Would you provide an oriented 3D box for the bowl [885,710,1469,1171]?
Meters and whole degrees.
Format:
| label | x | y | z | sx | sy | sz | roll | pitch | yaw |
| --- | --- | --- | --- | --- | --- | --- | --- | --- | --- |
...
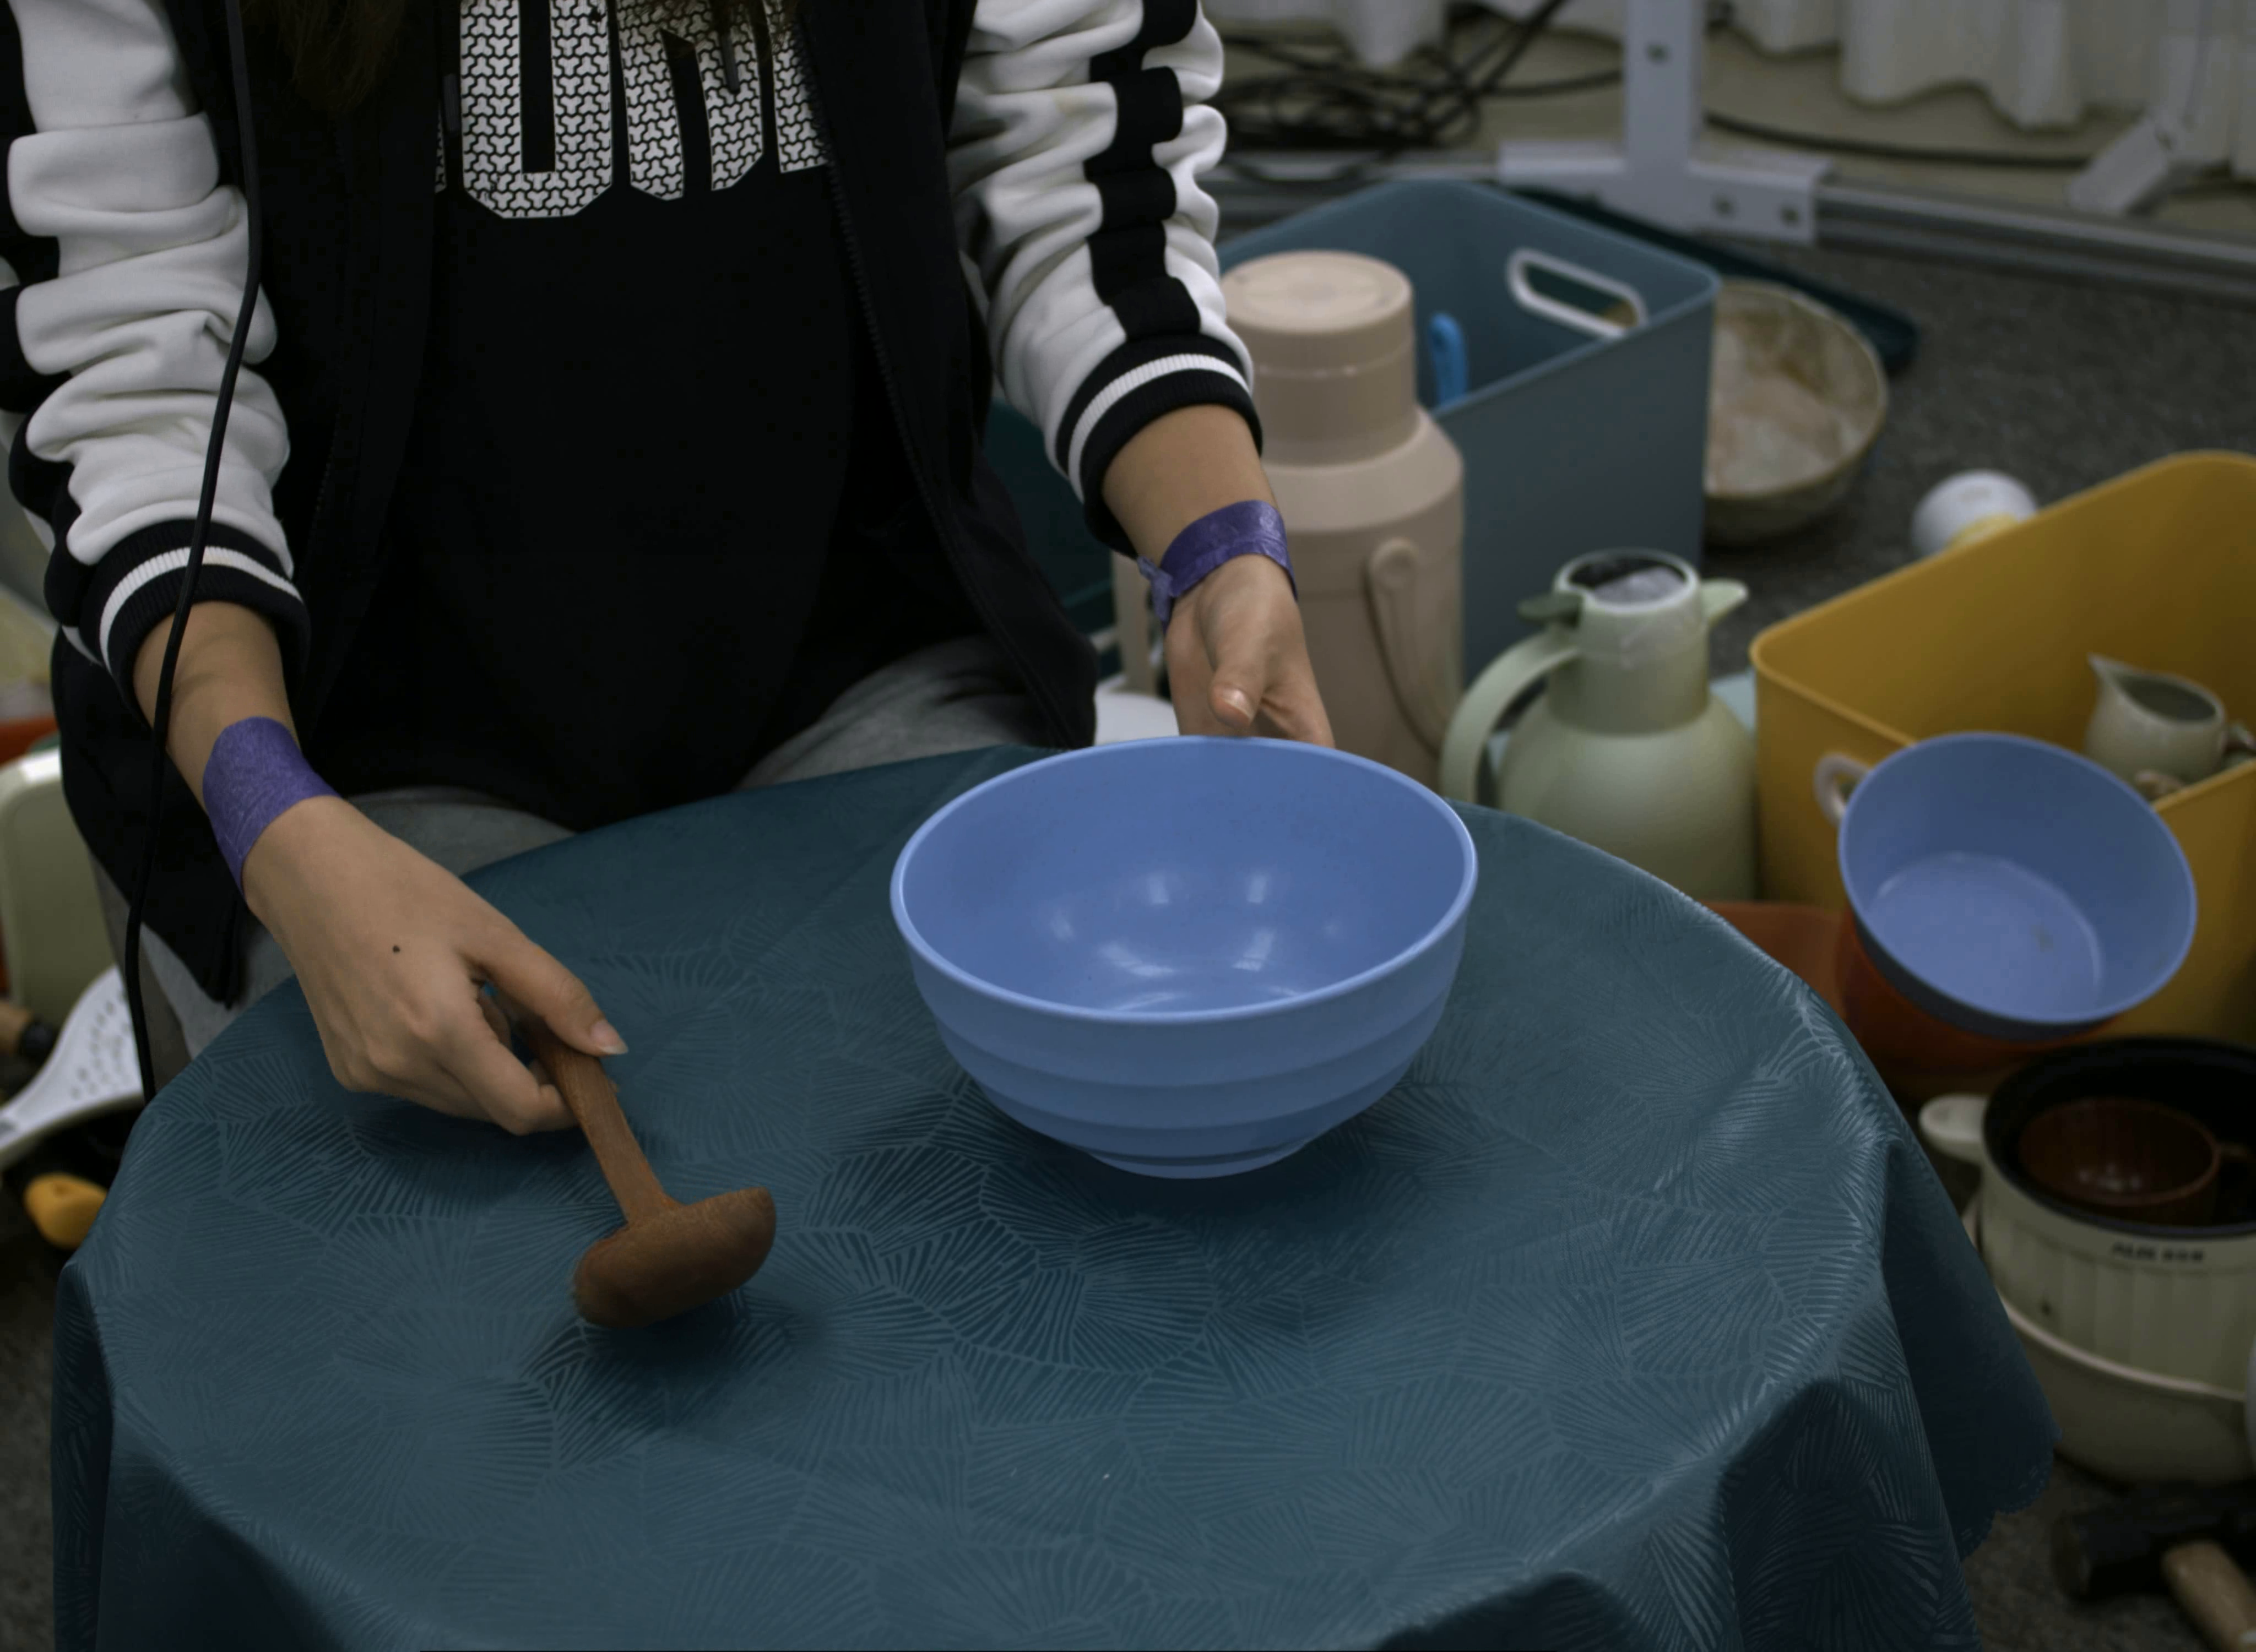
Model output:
| label | x | y | z | sx | sy | sz | roll | pitch | yaw |
| --- | --- | --- | --- | --- | --- | --- | --- | --- | --- |
| bowl | 0.021 | 0.052 | 1.894 | 0.195 | 0.094 | 0.200 | -5 | 32 | 4 |

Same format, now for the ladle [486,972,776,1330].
| label | x | y | z | sx | sy | sz | roll | pitch | yaw |
| --- | --- | --- | --- | --- | --- | --- | --- | --- | --- |
| ladle | -0.179 | 0.093 | 1.865 | 0.076 | 0.064 | 0.262 | -17 | 31 | -12 |
